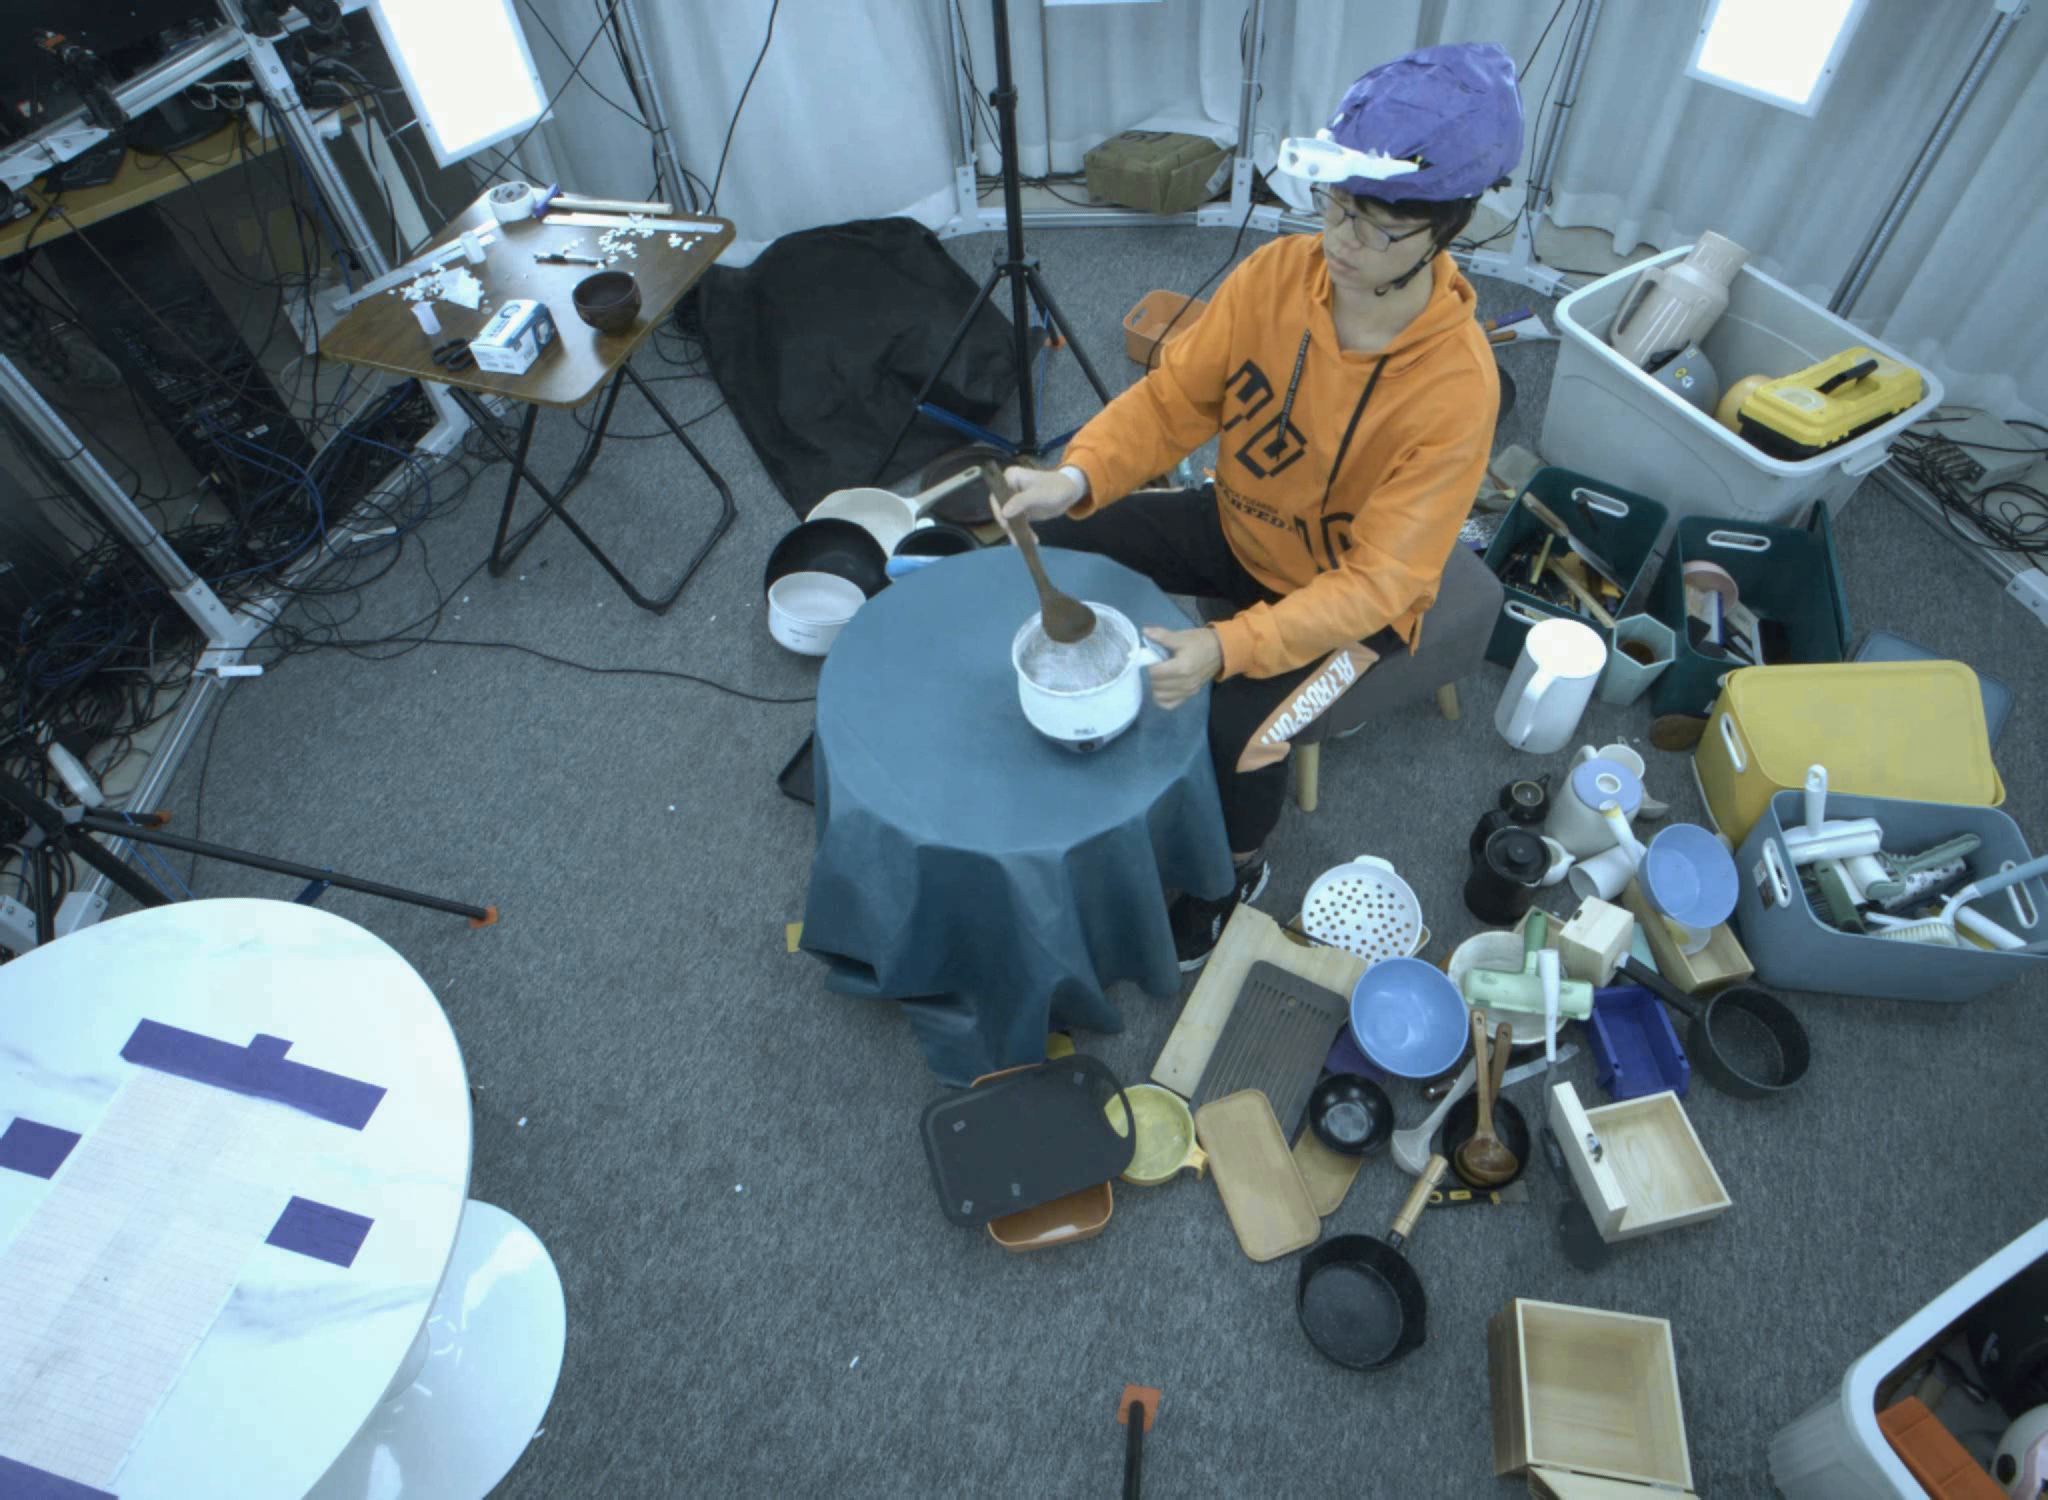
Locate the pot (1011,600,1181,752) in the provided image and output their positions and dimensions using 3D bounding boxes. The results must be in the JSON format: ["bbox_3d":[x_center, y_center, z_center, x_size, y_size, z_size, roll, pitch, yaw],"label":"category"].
[{"bbox_3d":[0.105,-0.108,1.749,0.233,0.138,0.176,-7,53,2],"label":"pot"}]

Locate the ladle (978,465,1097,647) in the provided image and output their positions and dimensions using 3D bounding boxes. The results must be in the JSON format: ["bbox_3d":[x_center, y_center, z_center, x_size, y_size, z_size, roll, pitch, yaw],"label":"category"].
[{"bbox_3d":[0.015,-0.267,1.659,0.077,0.070,0.276,-29,101,-23],"label":"ladle"}]
